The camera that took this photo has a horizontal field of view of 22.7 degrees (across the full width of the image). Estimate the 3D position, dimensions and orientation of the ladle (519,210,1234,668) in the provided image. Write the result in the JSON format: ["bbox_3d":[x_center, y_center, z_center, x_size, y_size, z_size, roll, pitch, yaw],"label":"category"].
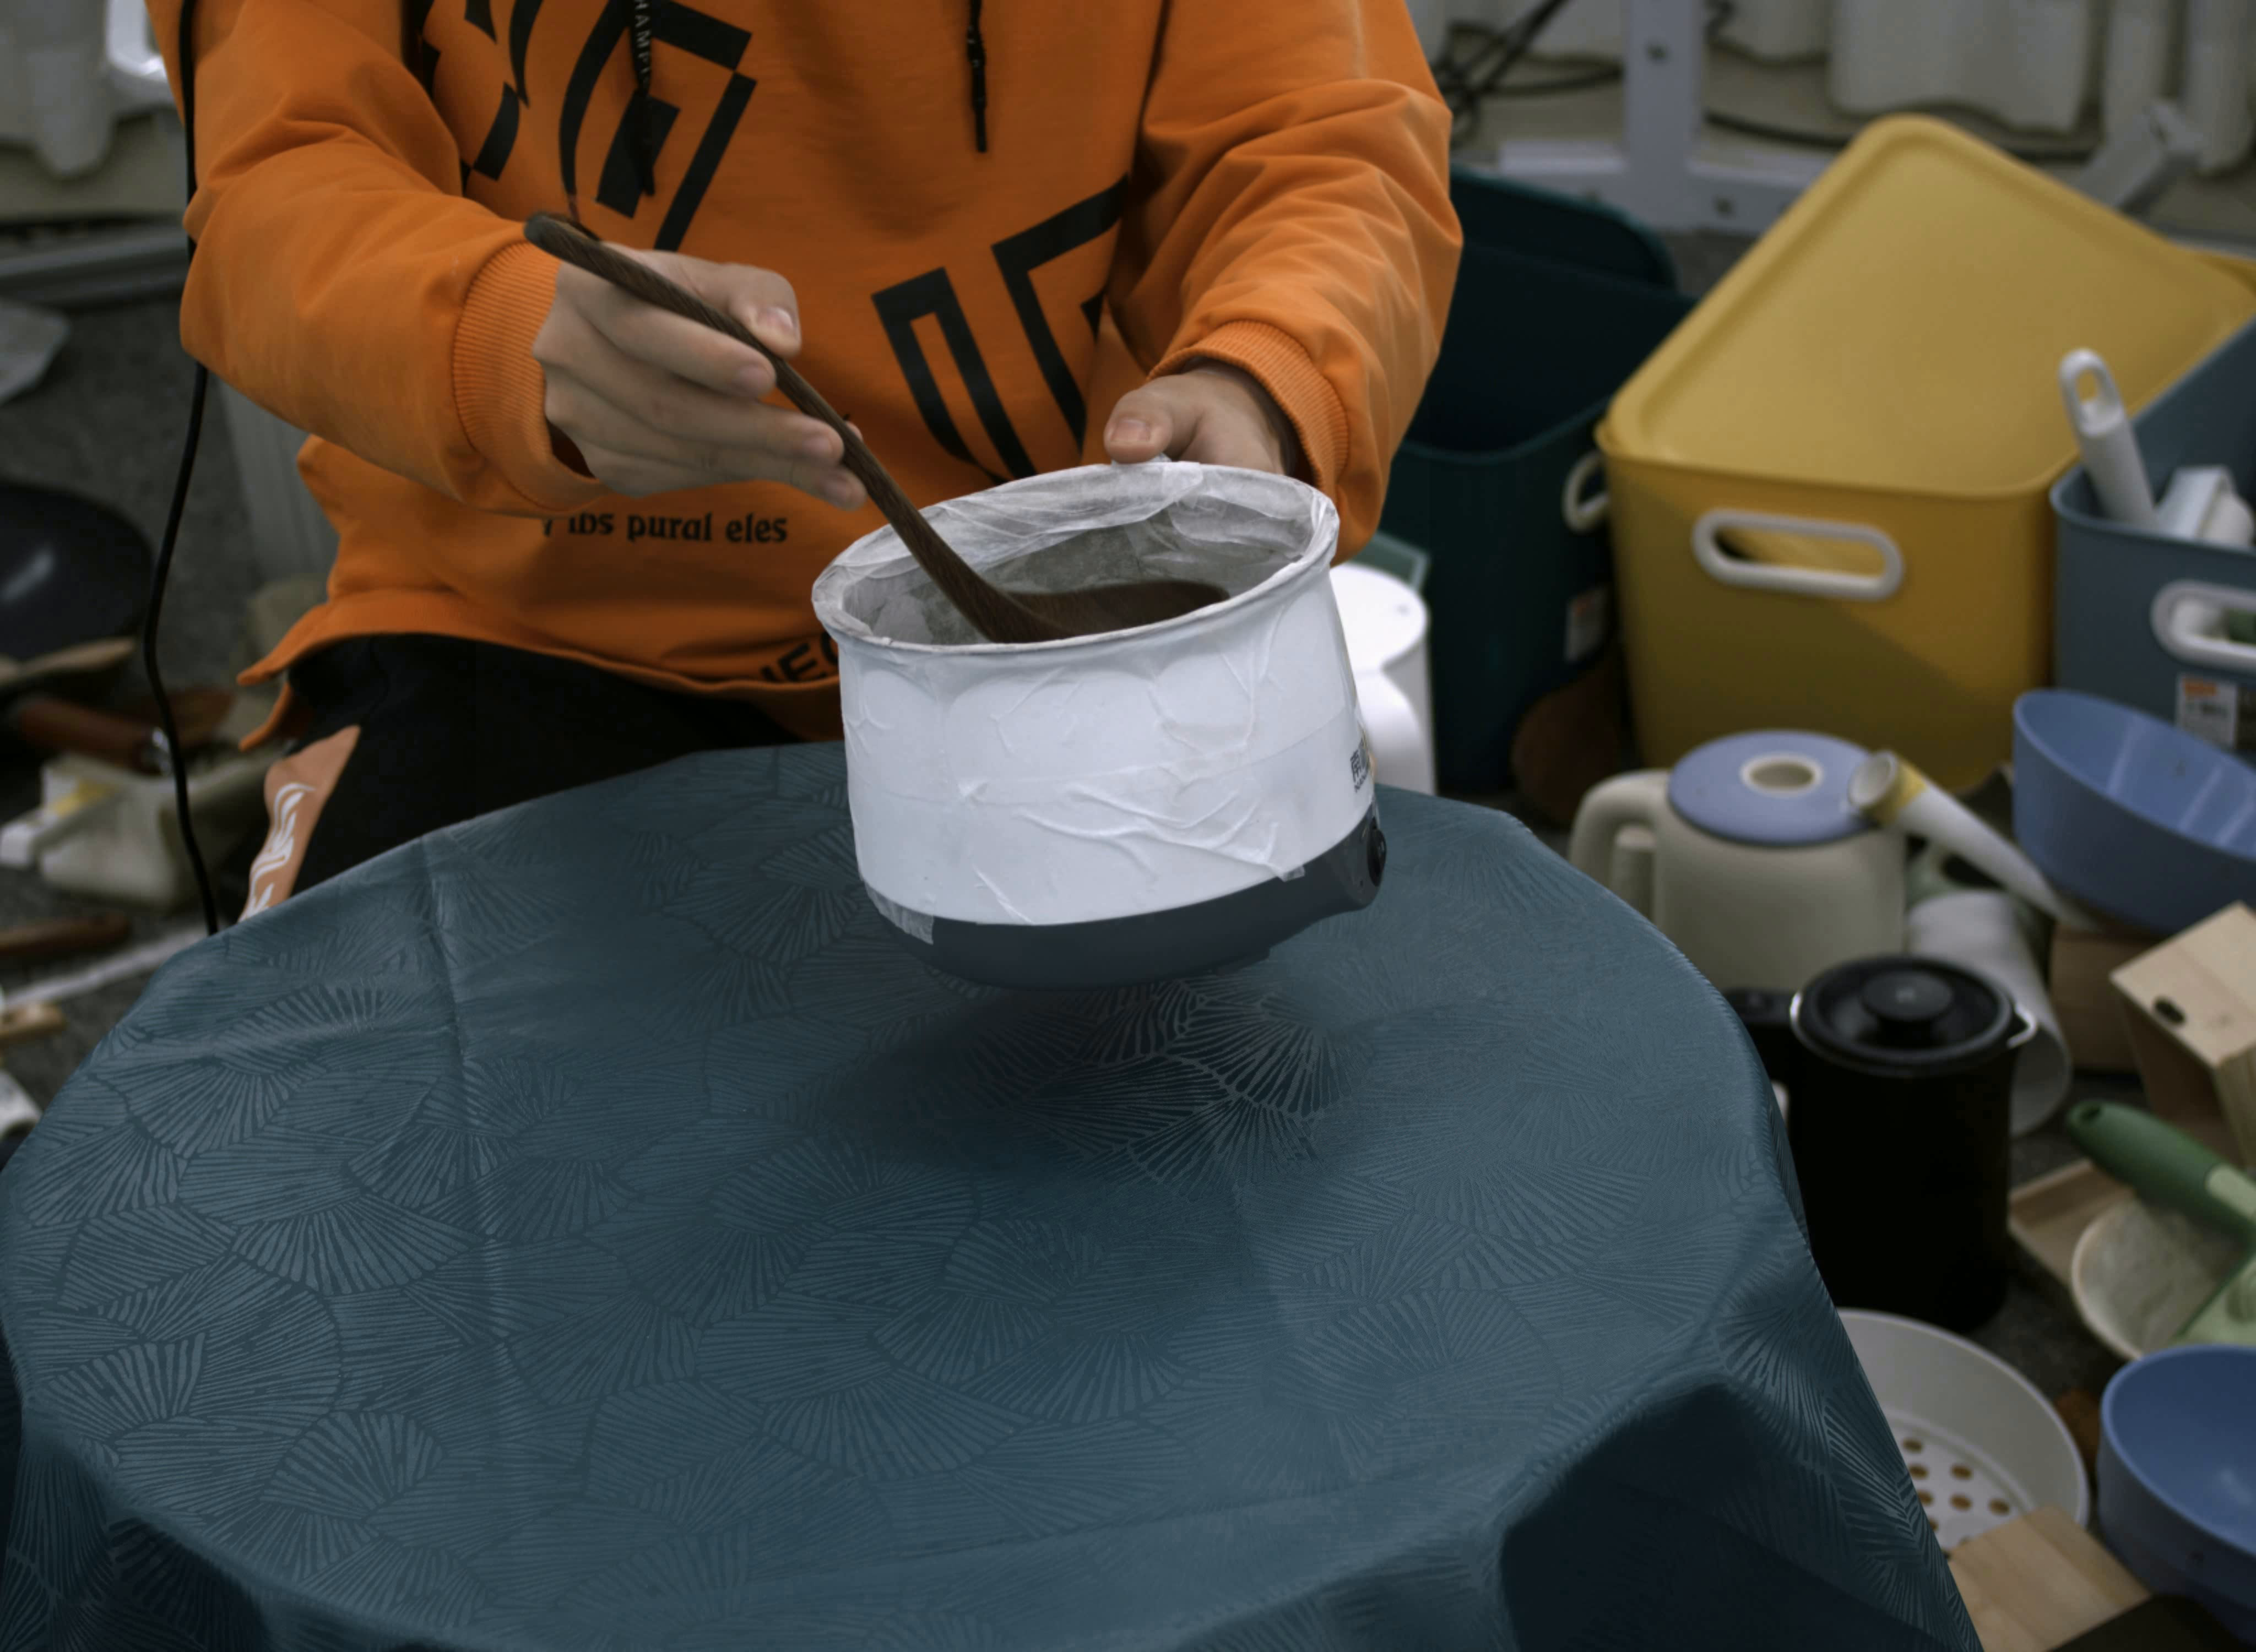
[{"bbox_3d":[-0.077,-0.136,1.843,0.072,0.272,0.076,-52,23,-8],"label":"ladle"}]

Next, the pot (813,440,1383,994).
[{"bbox_3d":[-0.004,-0.043,1.910,0.177,0.135,0.237,-4,21,12],"label":"pot"}]
